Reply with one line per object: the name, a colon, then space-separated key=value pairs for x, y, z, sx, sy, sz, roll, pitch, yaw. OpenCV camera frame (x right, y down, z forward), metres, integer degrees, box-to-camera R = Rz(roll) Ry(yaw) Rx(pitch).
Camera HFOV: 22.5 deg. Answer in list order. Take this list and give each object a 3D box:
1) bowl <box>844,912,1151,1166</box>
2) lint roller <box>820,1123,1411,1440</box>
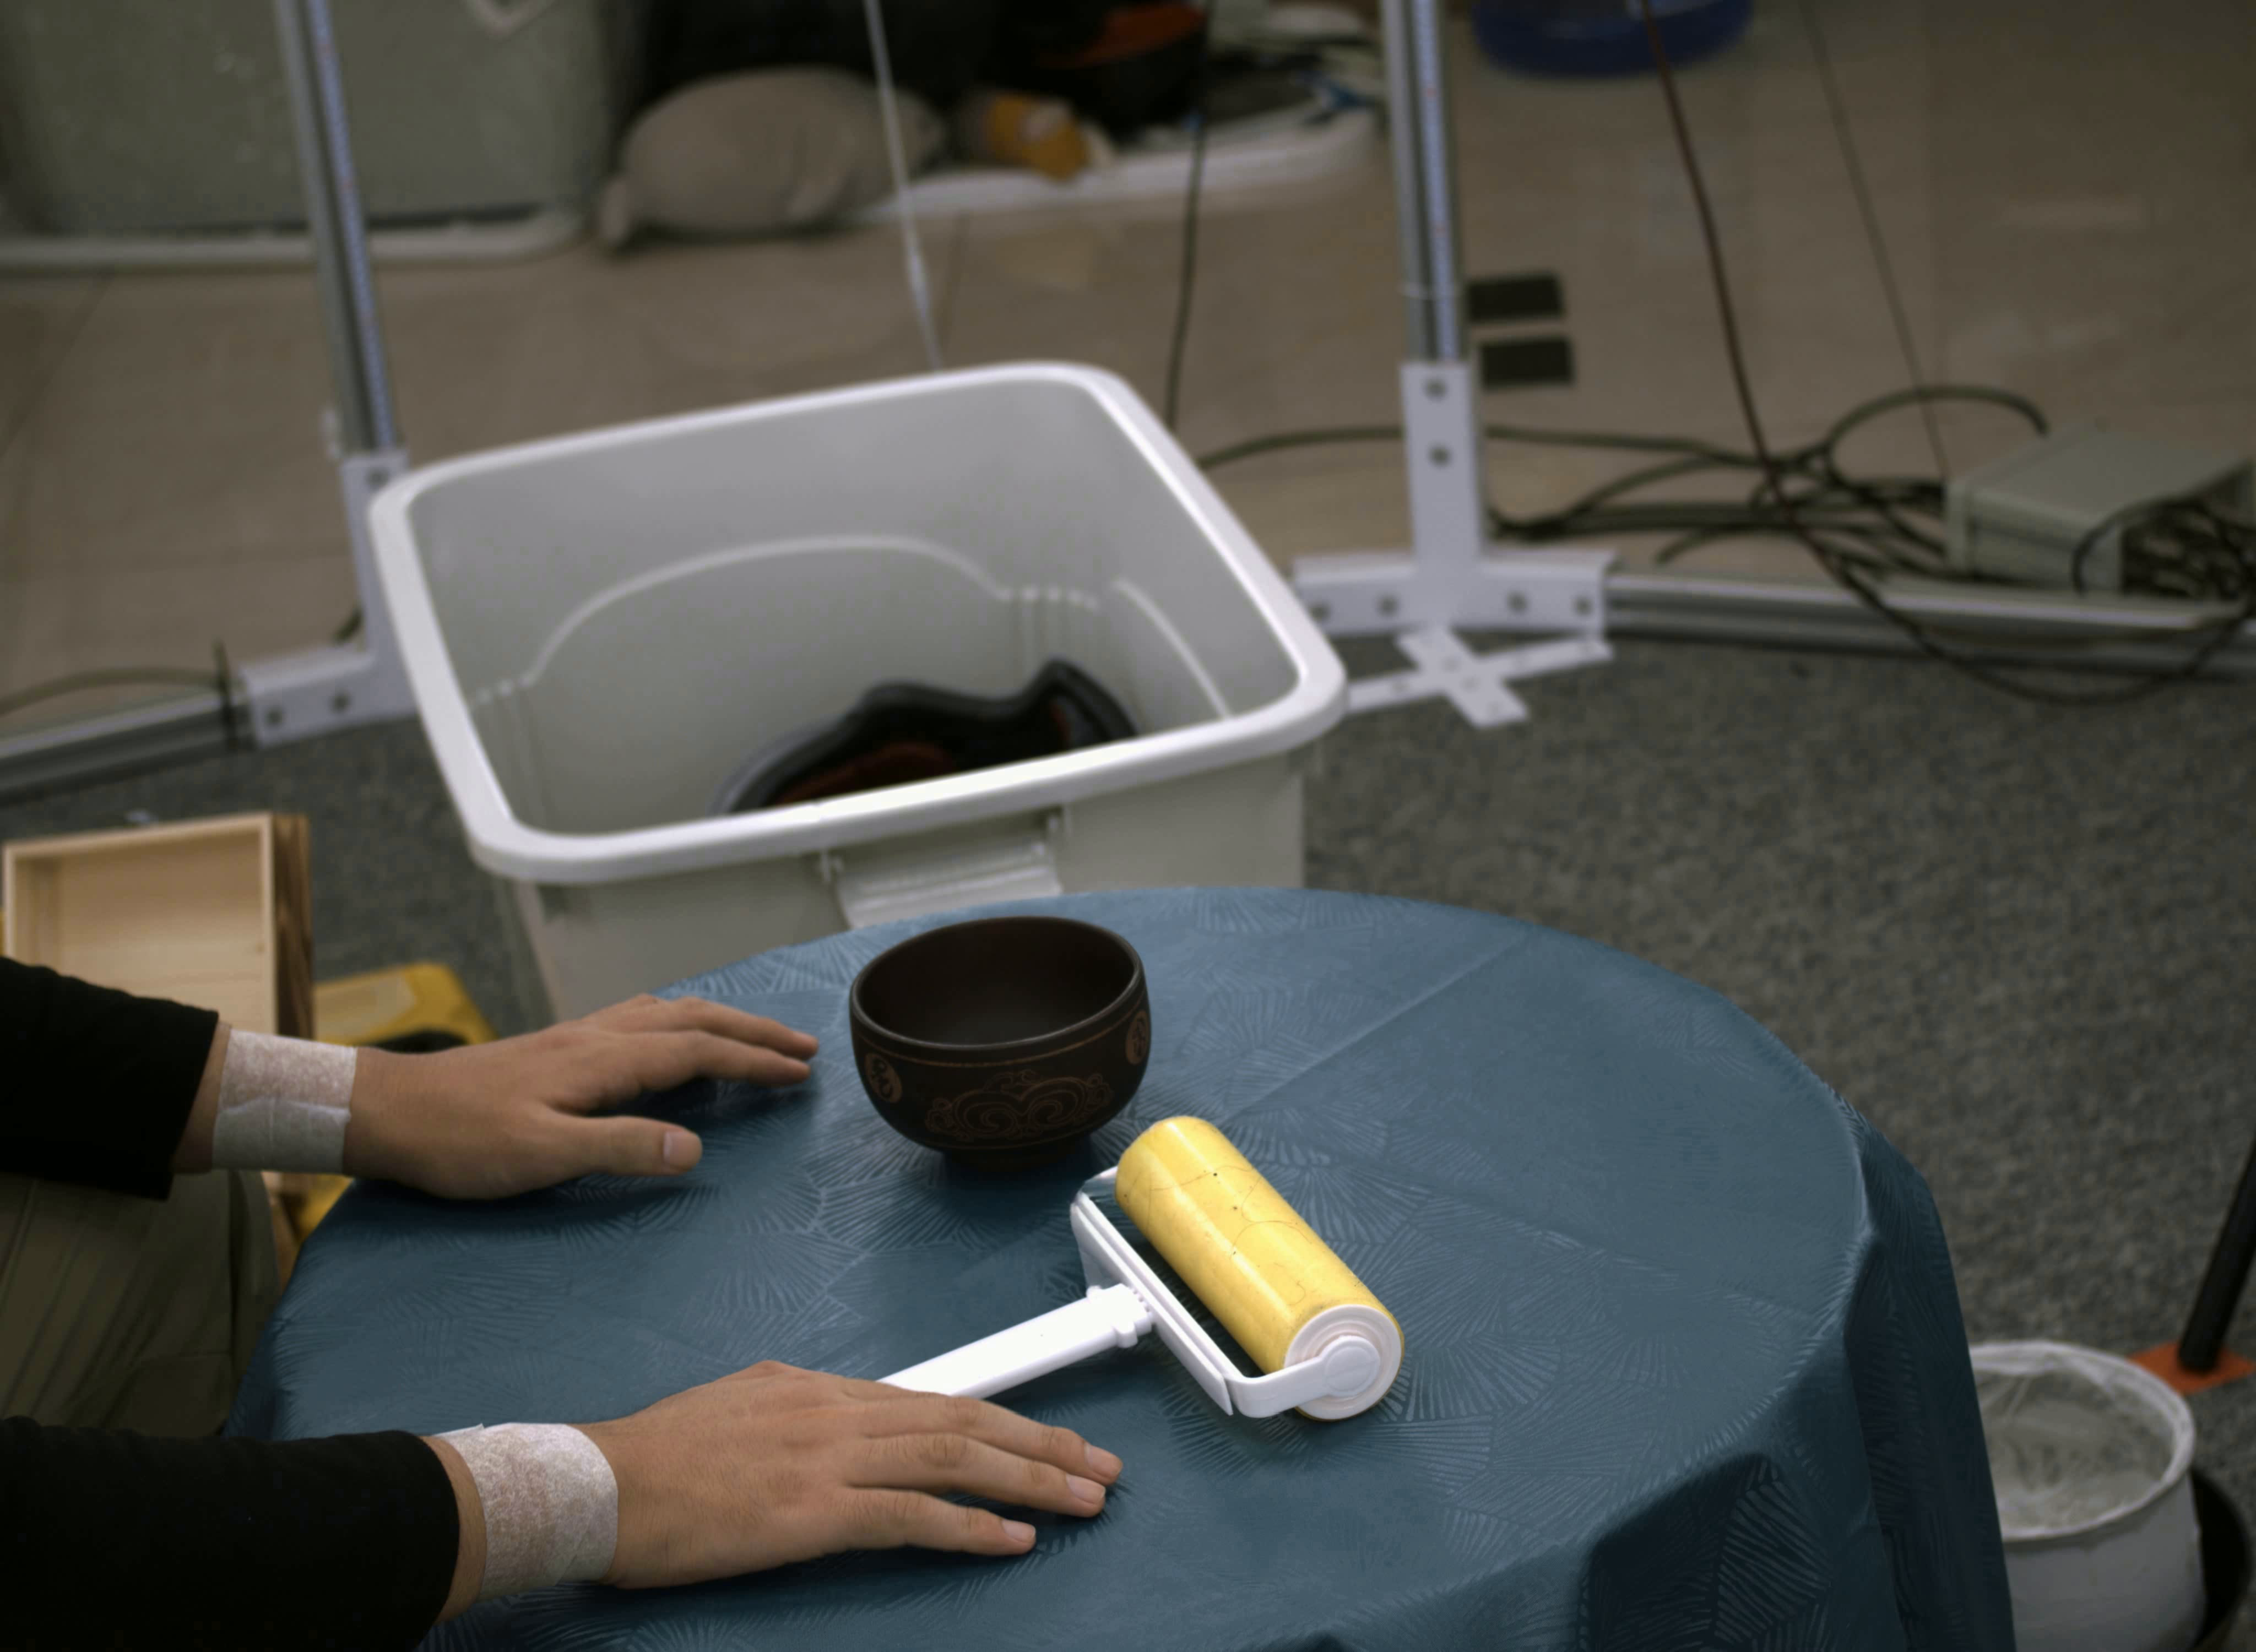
bowl: x=-0.049 y=0.088 z=2.181 sx=0.118 sy=0.071 sz=0.116 roll=-4 pitch=25 yaw=2
lint roller: x=-0.020 y=0.173 z=2.016 sx=0.191 sy=0.052 sz=0.172 roll=-11 pitch=25 yaw=-20
